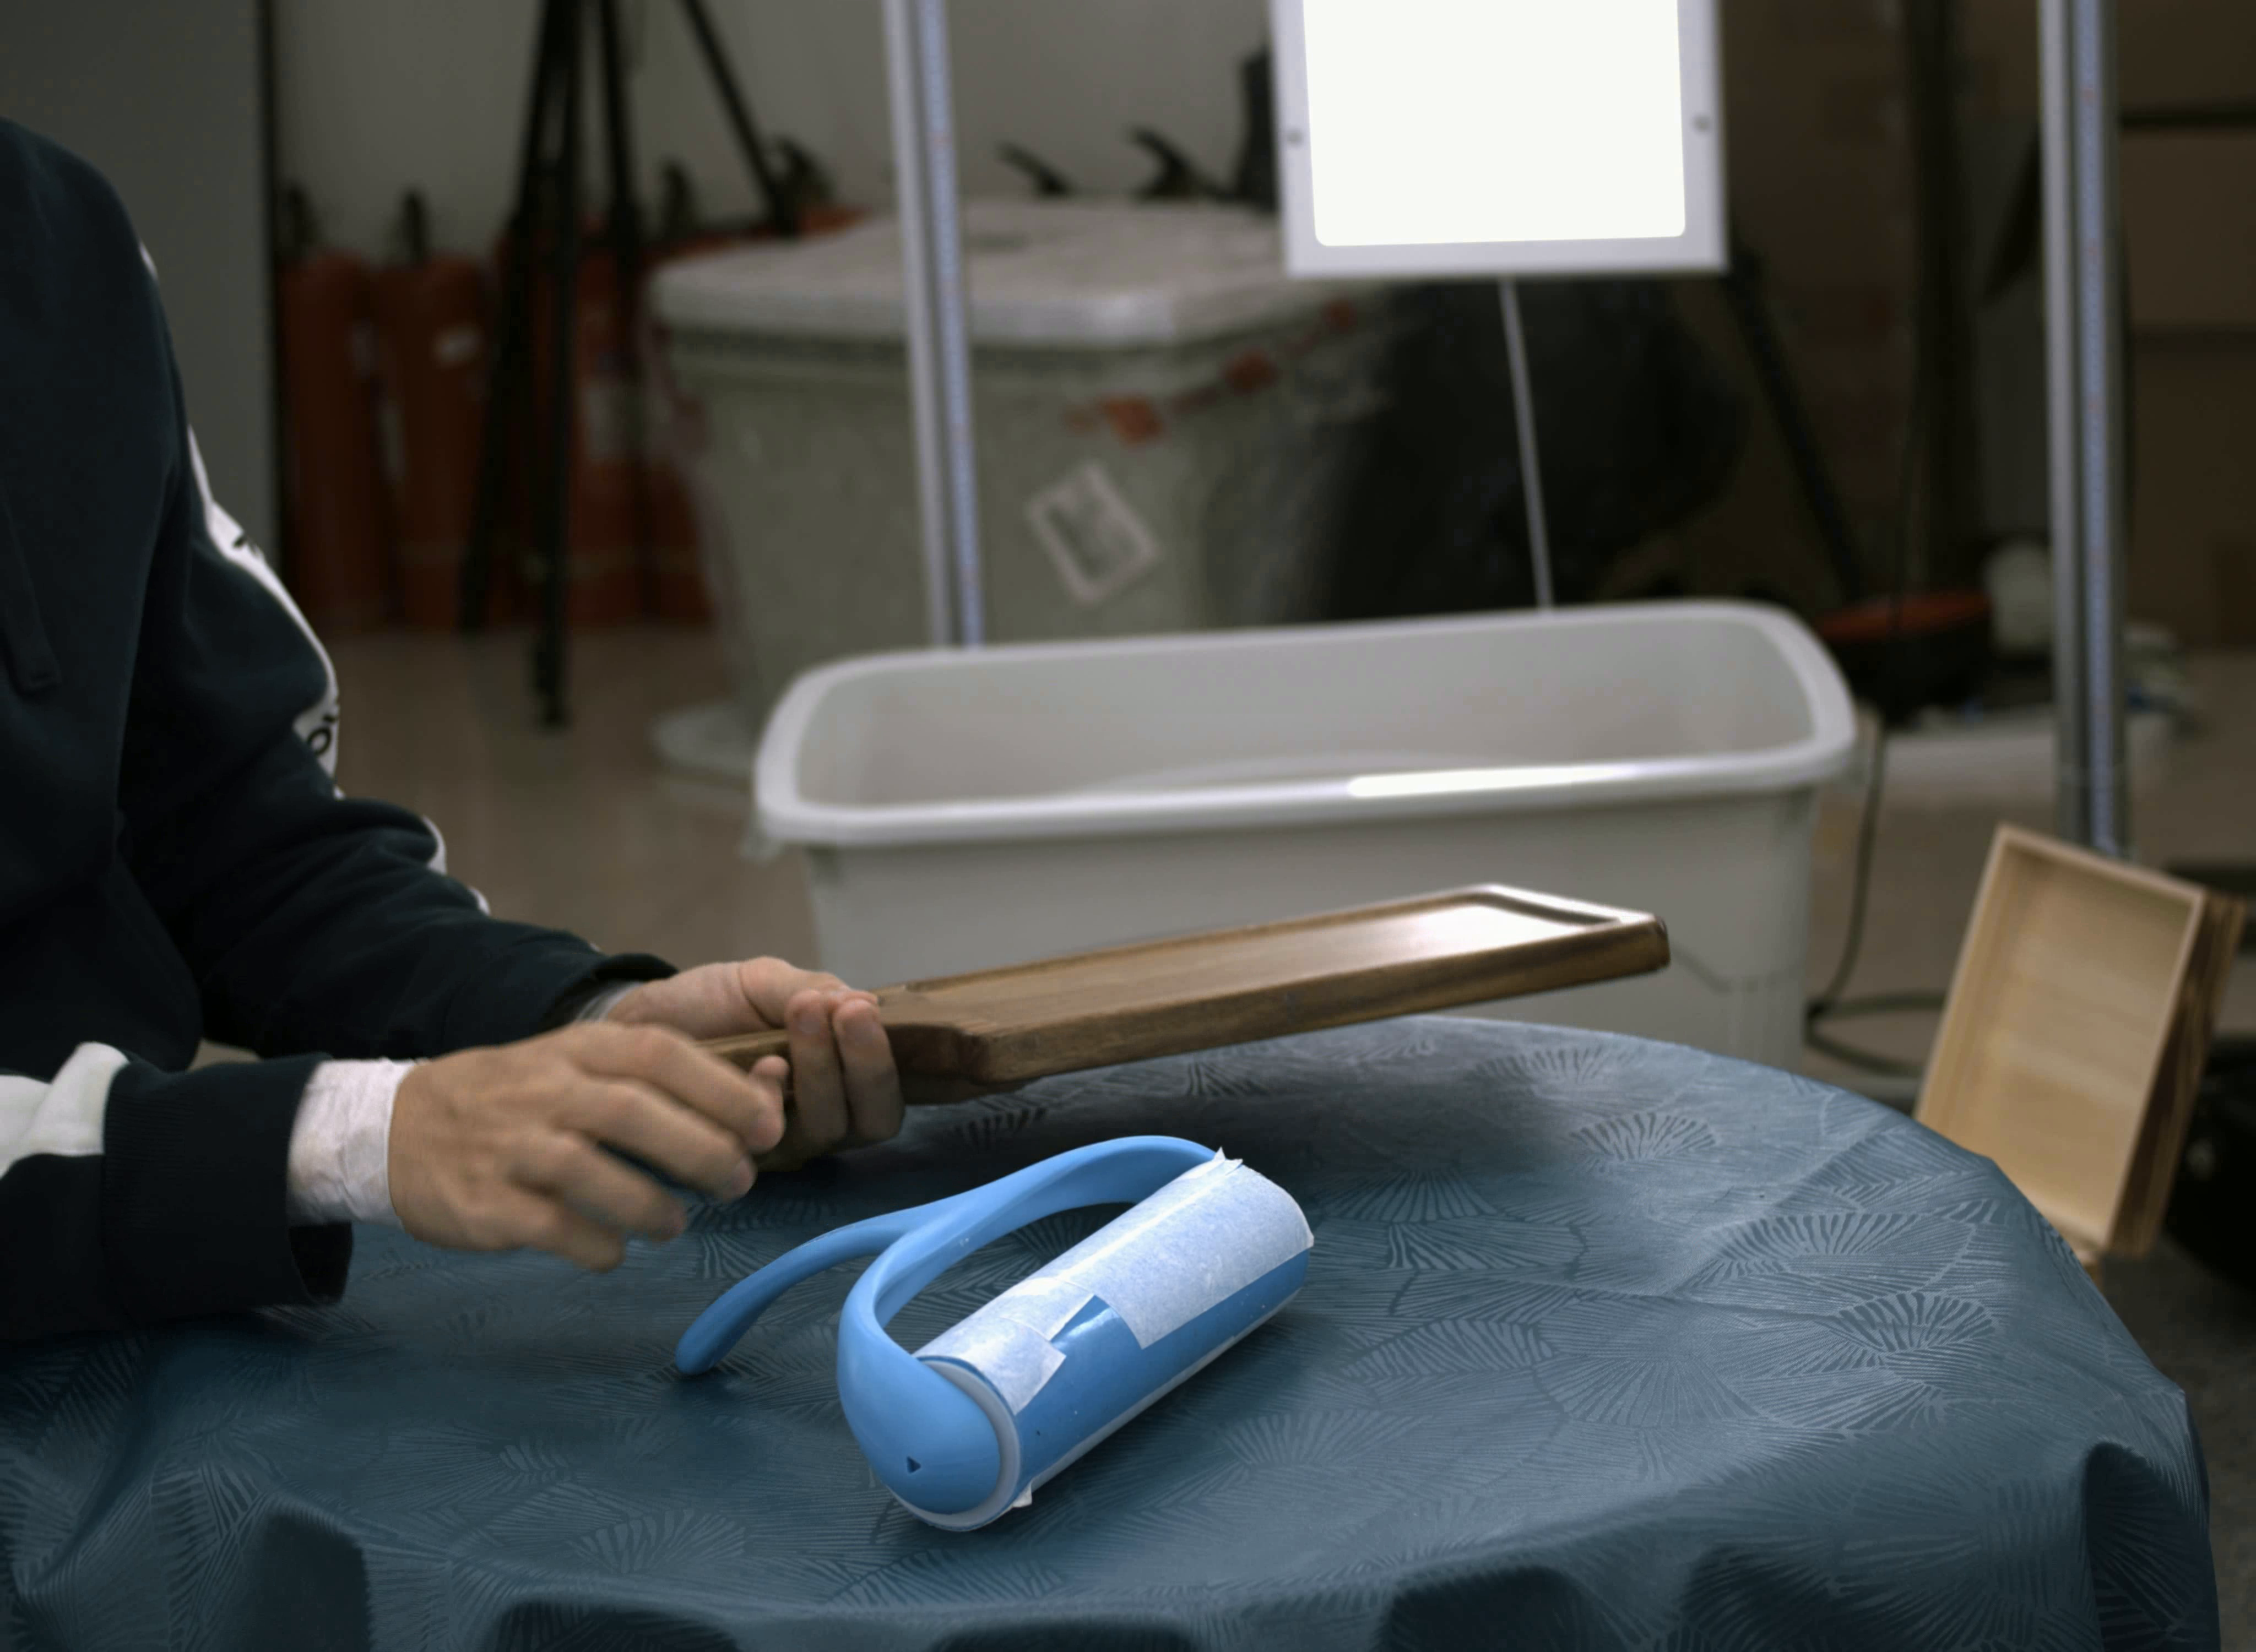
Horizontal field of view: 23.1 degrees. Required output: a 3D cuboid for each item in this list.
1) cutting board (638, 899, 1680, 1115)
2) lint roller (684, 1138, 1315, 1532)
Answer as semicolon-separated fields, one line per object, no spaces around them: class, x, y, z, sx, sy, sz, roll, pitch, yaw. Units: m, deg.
cutting board;-0.001;0.064;1.942;0.347;0.023;0.203;-9;4;-12
lint roller;-0.061;0.151;1.697;0.183;0.068;0.224;3;18;26
